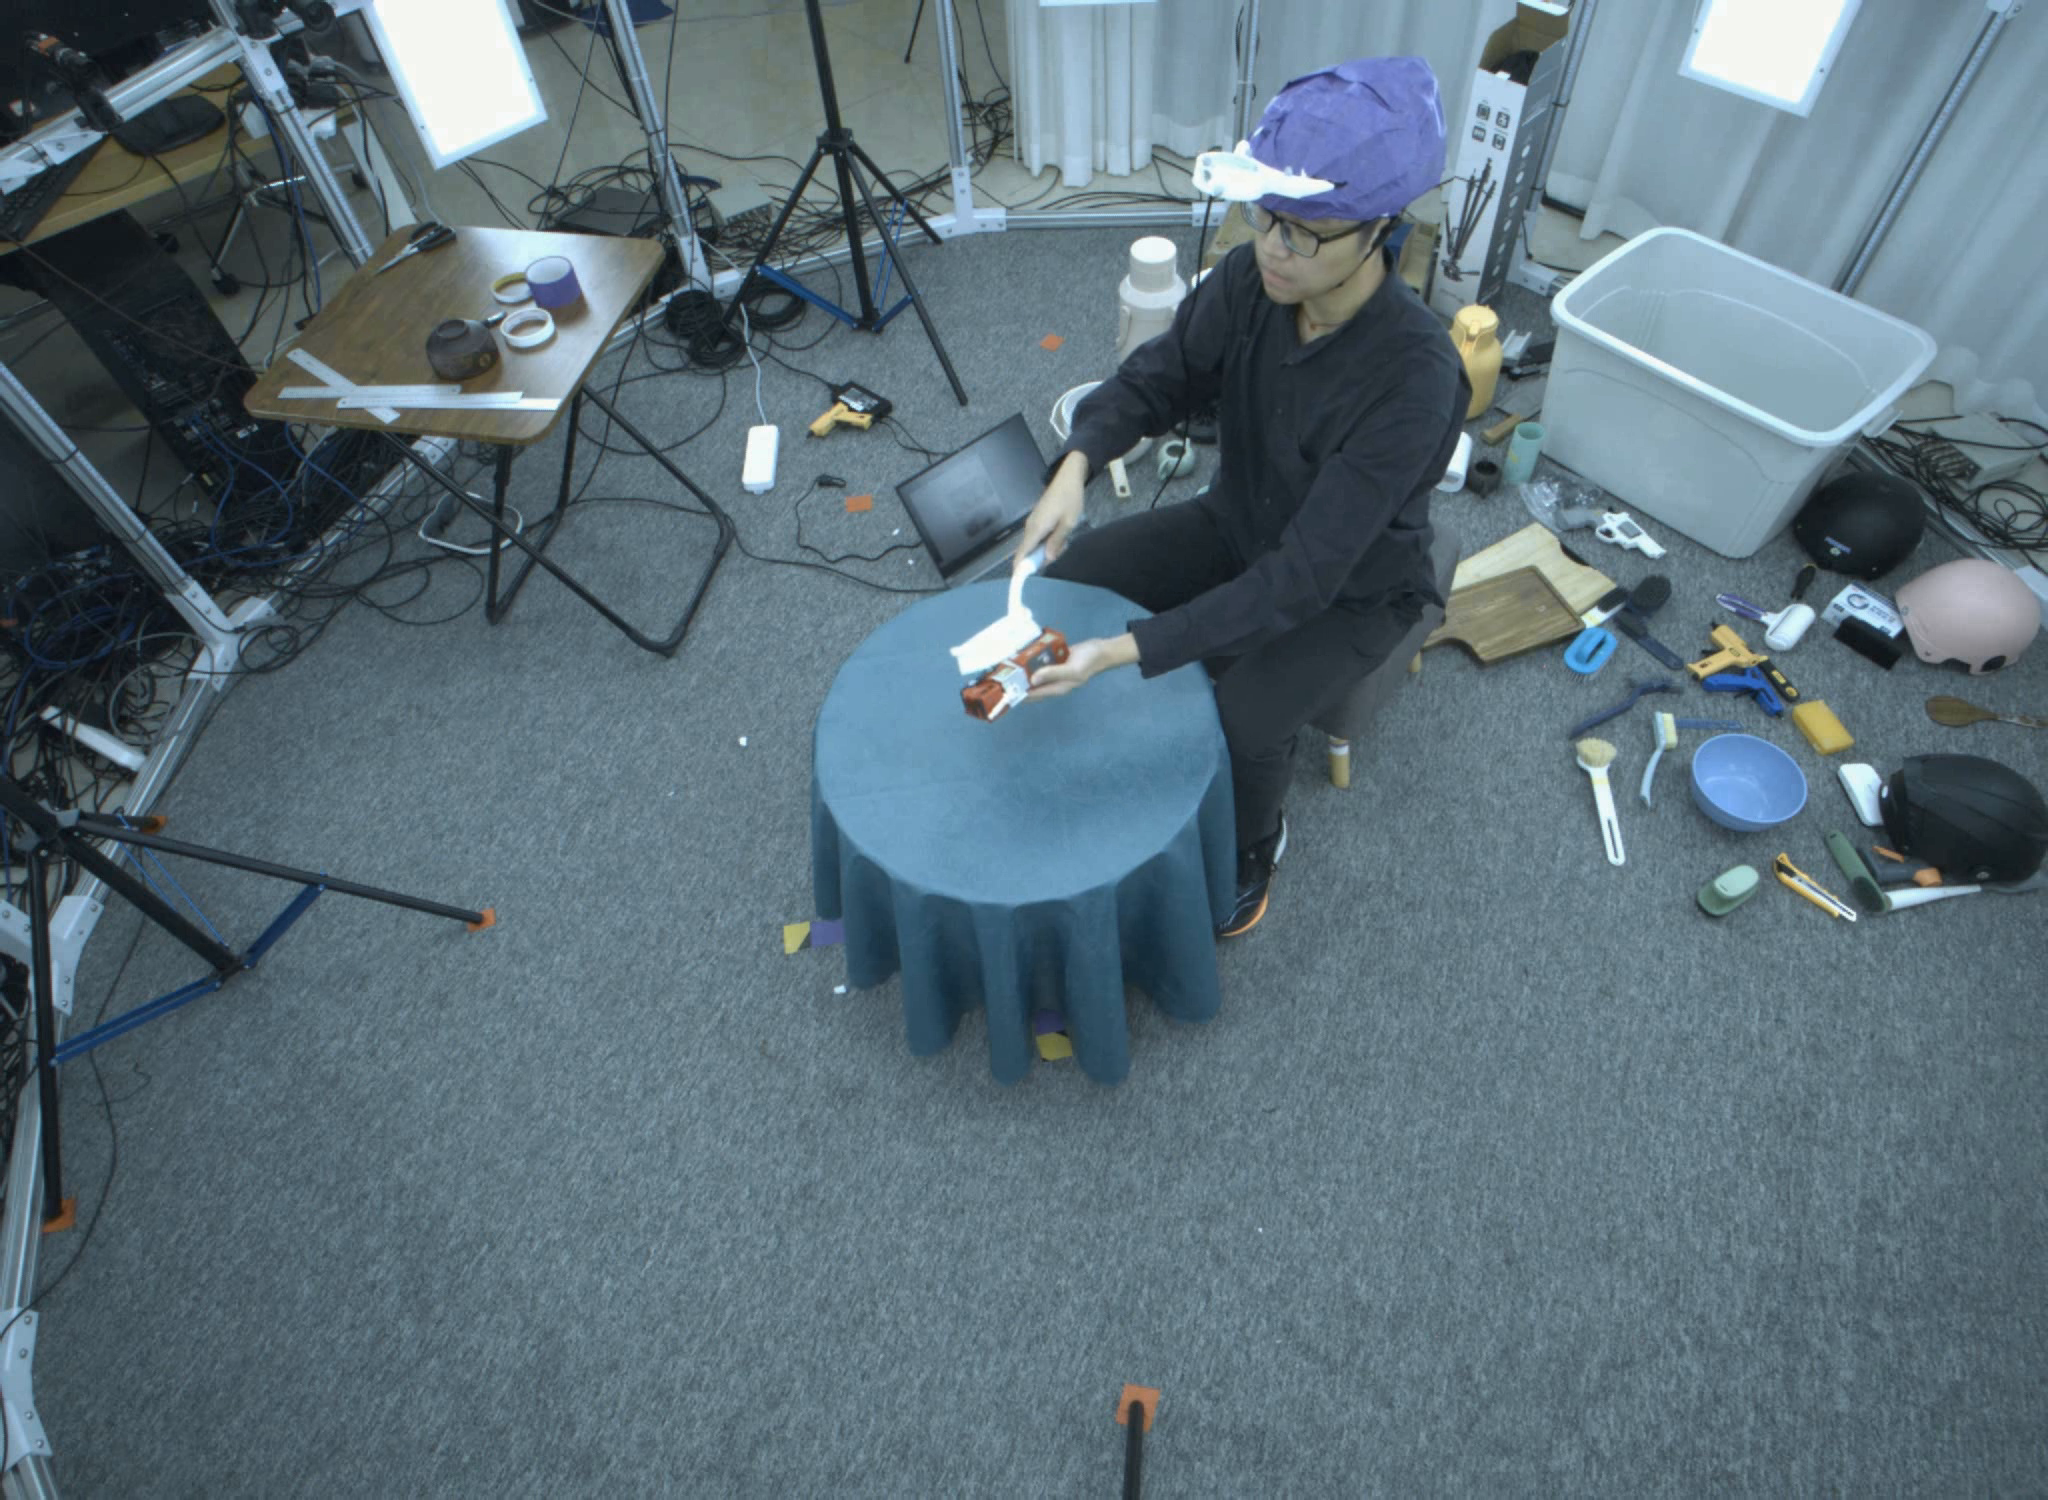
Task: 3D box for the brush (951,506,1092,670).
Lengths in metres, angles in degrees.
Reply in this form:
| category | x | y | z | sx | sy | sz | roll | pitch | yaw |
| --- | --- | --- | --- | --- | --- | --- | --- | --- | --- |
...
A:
| category | x | y | z | sx | sy | sz | roll | pitch | yaw |
| --- | --- | --- | --- | --- | --- | --- | --- | --- | --- |
| brush | 0.020 | -0.215 | 1.703 | 0.081 | 0.086 | 0.327 | 24 | 58 | 27 |

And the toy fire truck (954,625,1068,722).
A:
| category | x | y | z | sx | sy | sz | roll | pitch | yaw |
| --- | --- | --- | --- | --- | --- | --- | --- | --- | --- |
| toy fire truck | -0.016 | -0.101 | 1.631 | 0.169 | 0.055 | 0.068 | -41 | 39 | -25 |
